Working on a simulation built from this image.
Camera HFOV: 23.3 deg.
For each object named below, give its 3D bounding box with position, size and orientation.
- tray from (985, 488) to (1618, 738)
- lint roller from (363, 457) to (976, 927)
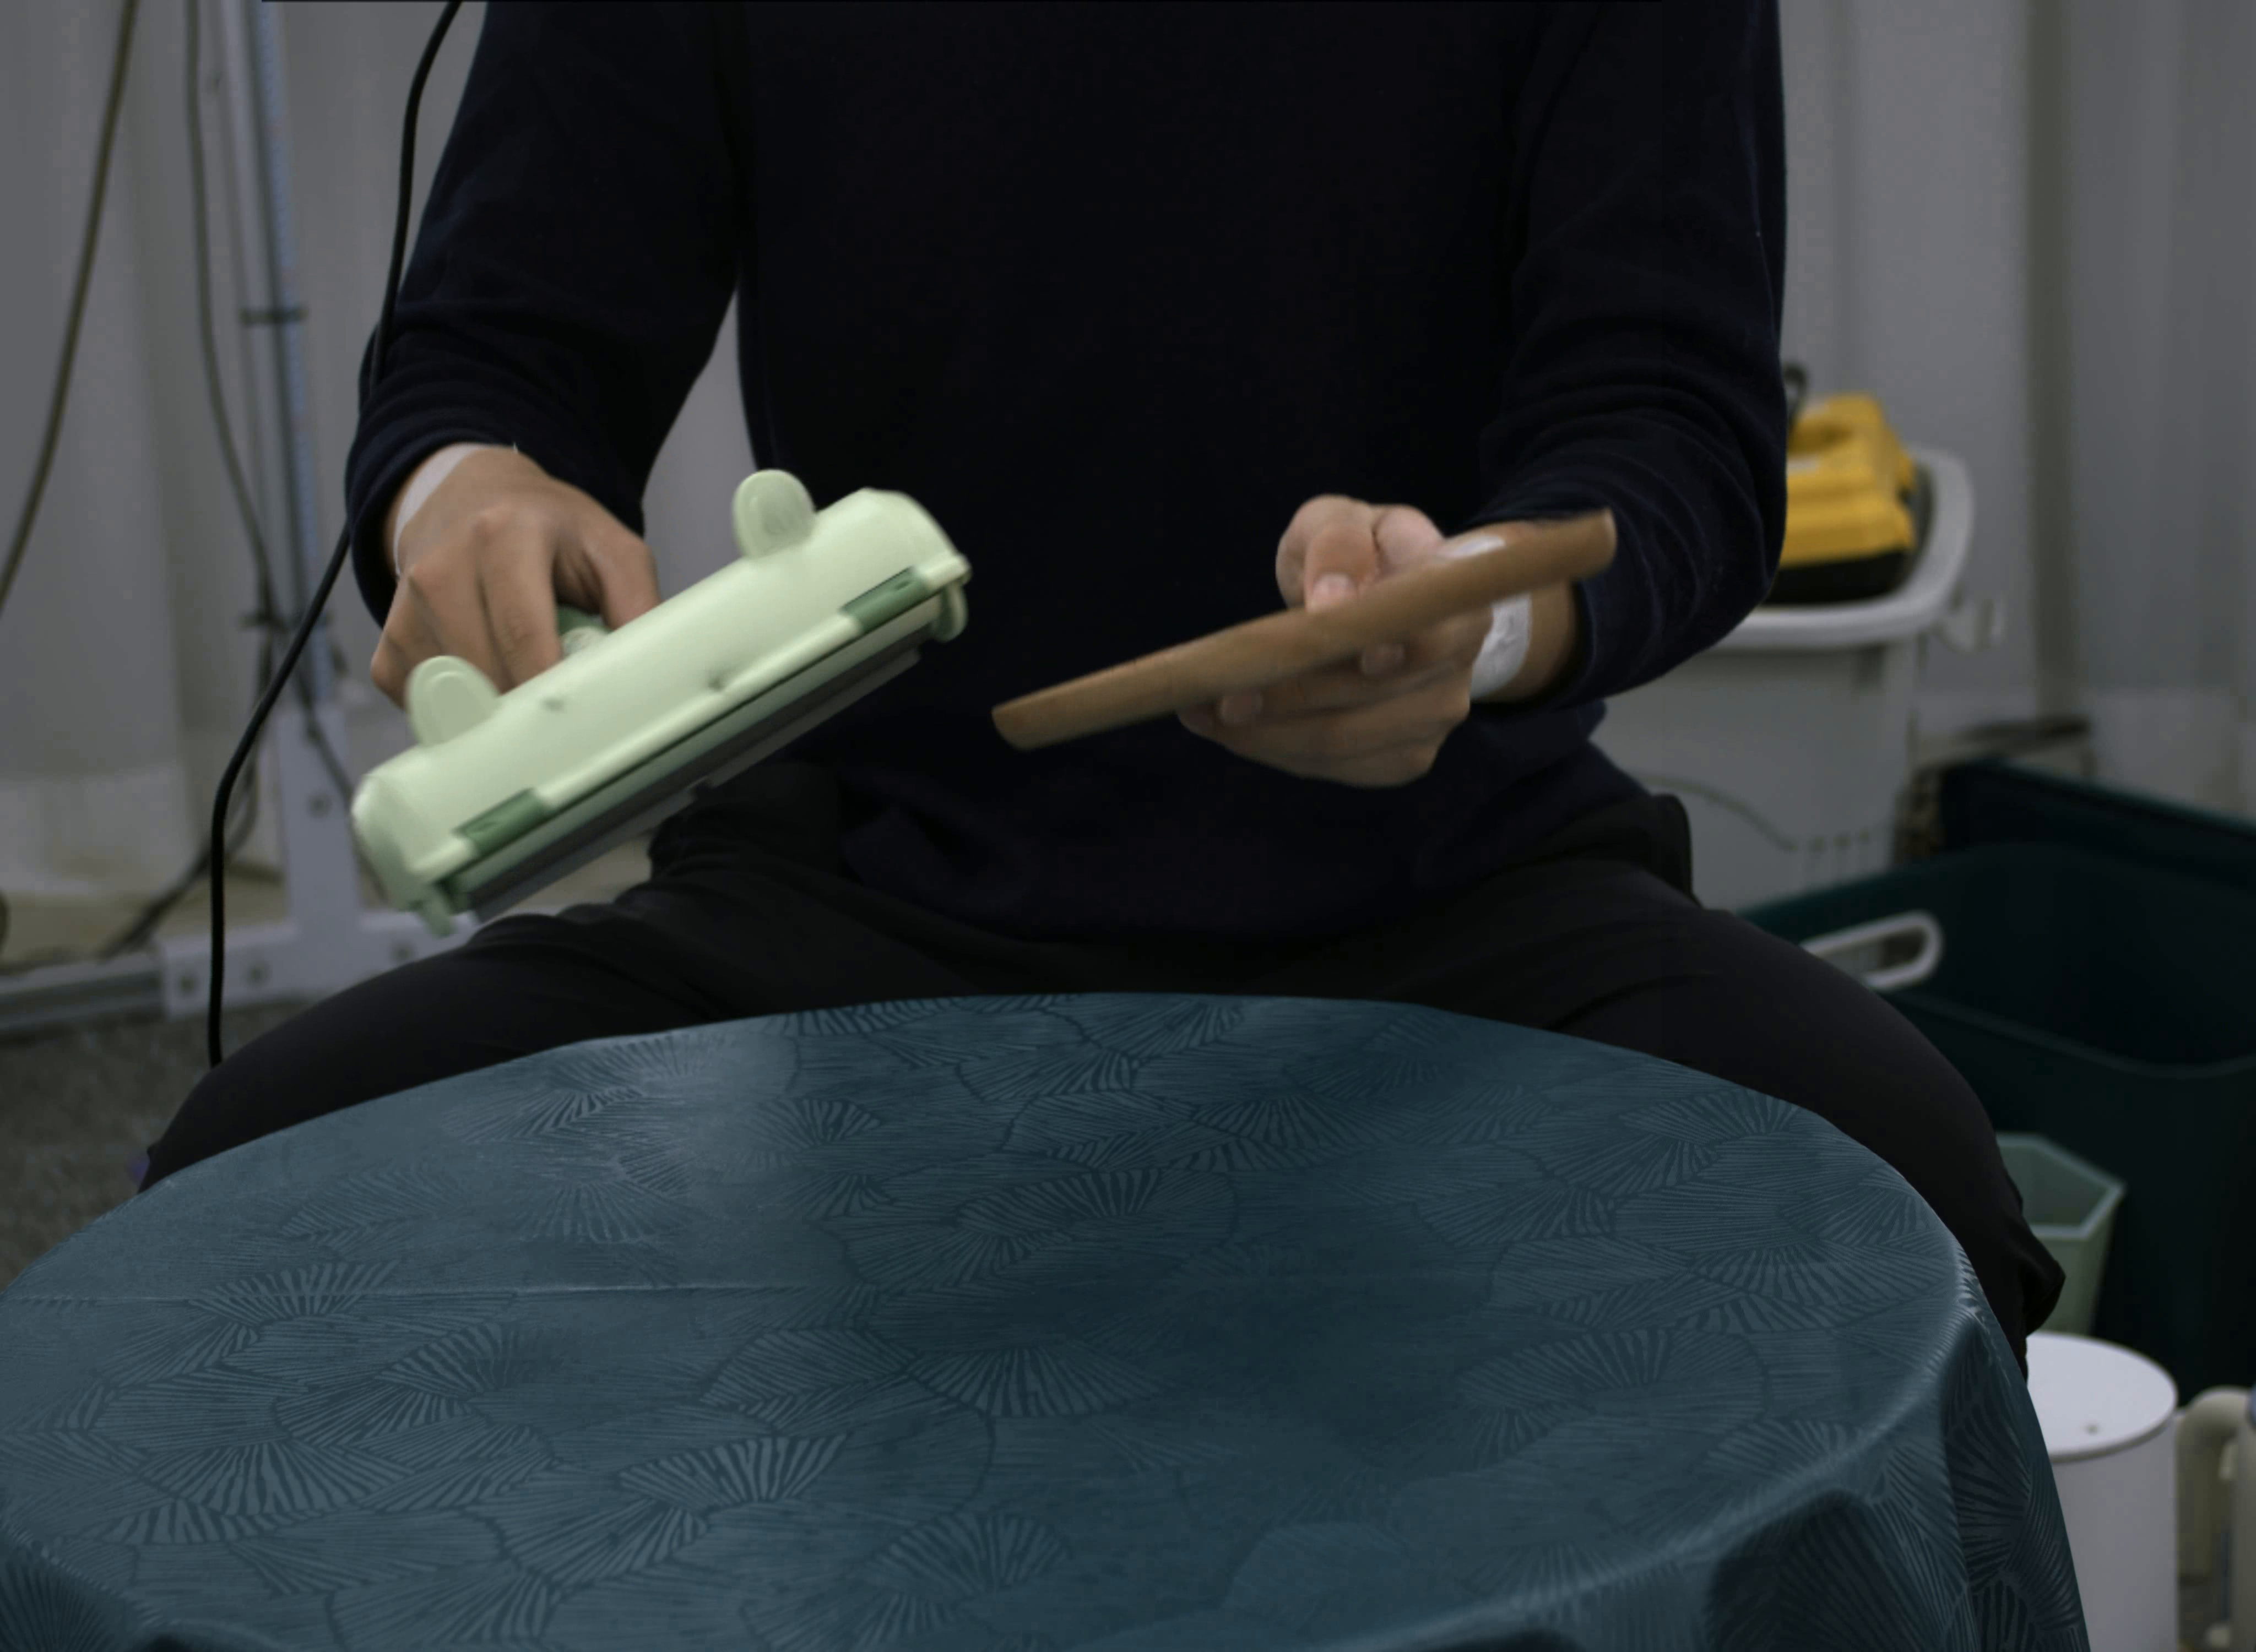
[{"bbox_3d":[0.045,-0.058,1.556,0.130,0.023,0.250,-16,0,-17],"label":"tray"},{"bbox_3d":[-0.169,-0.064,1.685,0.199,0.081,0.185,-32,37,-21],"label":"lint roller"}]
